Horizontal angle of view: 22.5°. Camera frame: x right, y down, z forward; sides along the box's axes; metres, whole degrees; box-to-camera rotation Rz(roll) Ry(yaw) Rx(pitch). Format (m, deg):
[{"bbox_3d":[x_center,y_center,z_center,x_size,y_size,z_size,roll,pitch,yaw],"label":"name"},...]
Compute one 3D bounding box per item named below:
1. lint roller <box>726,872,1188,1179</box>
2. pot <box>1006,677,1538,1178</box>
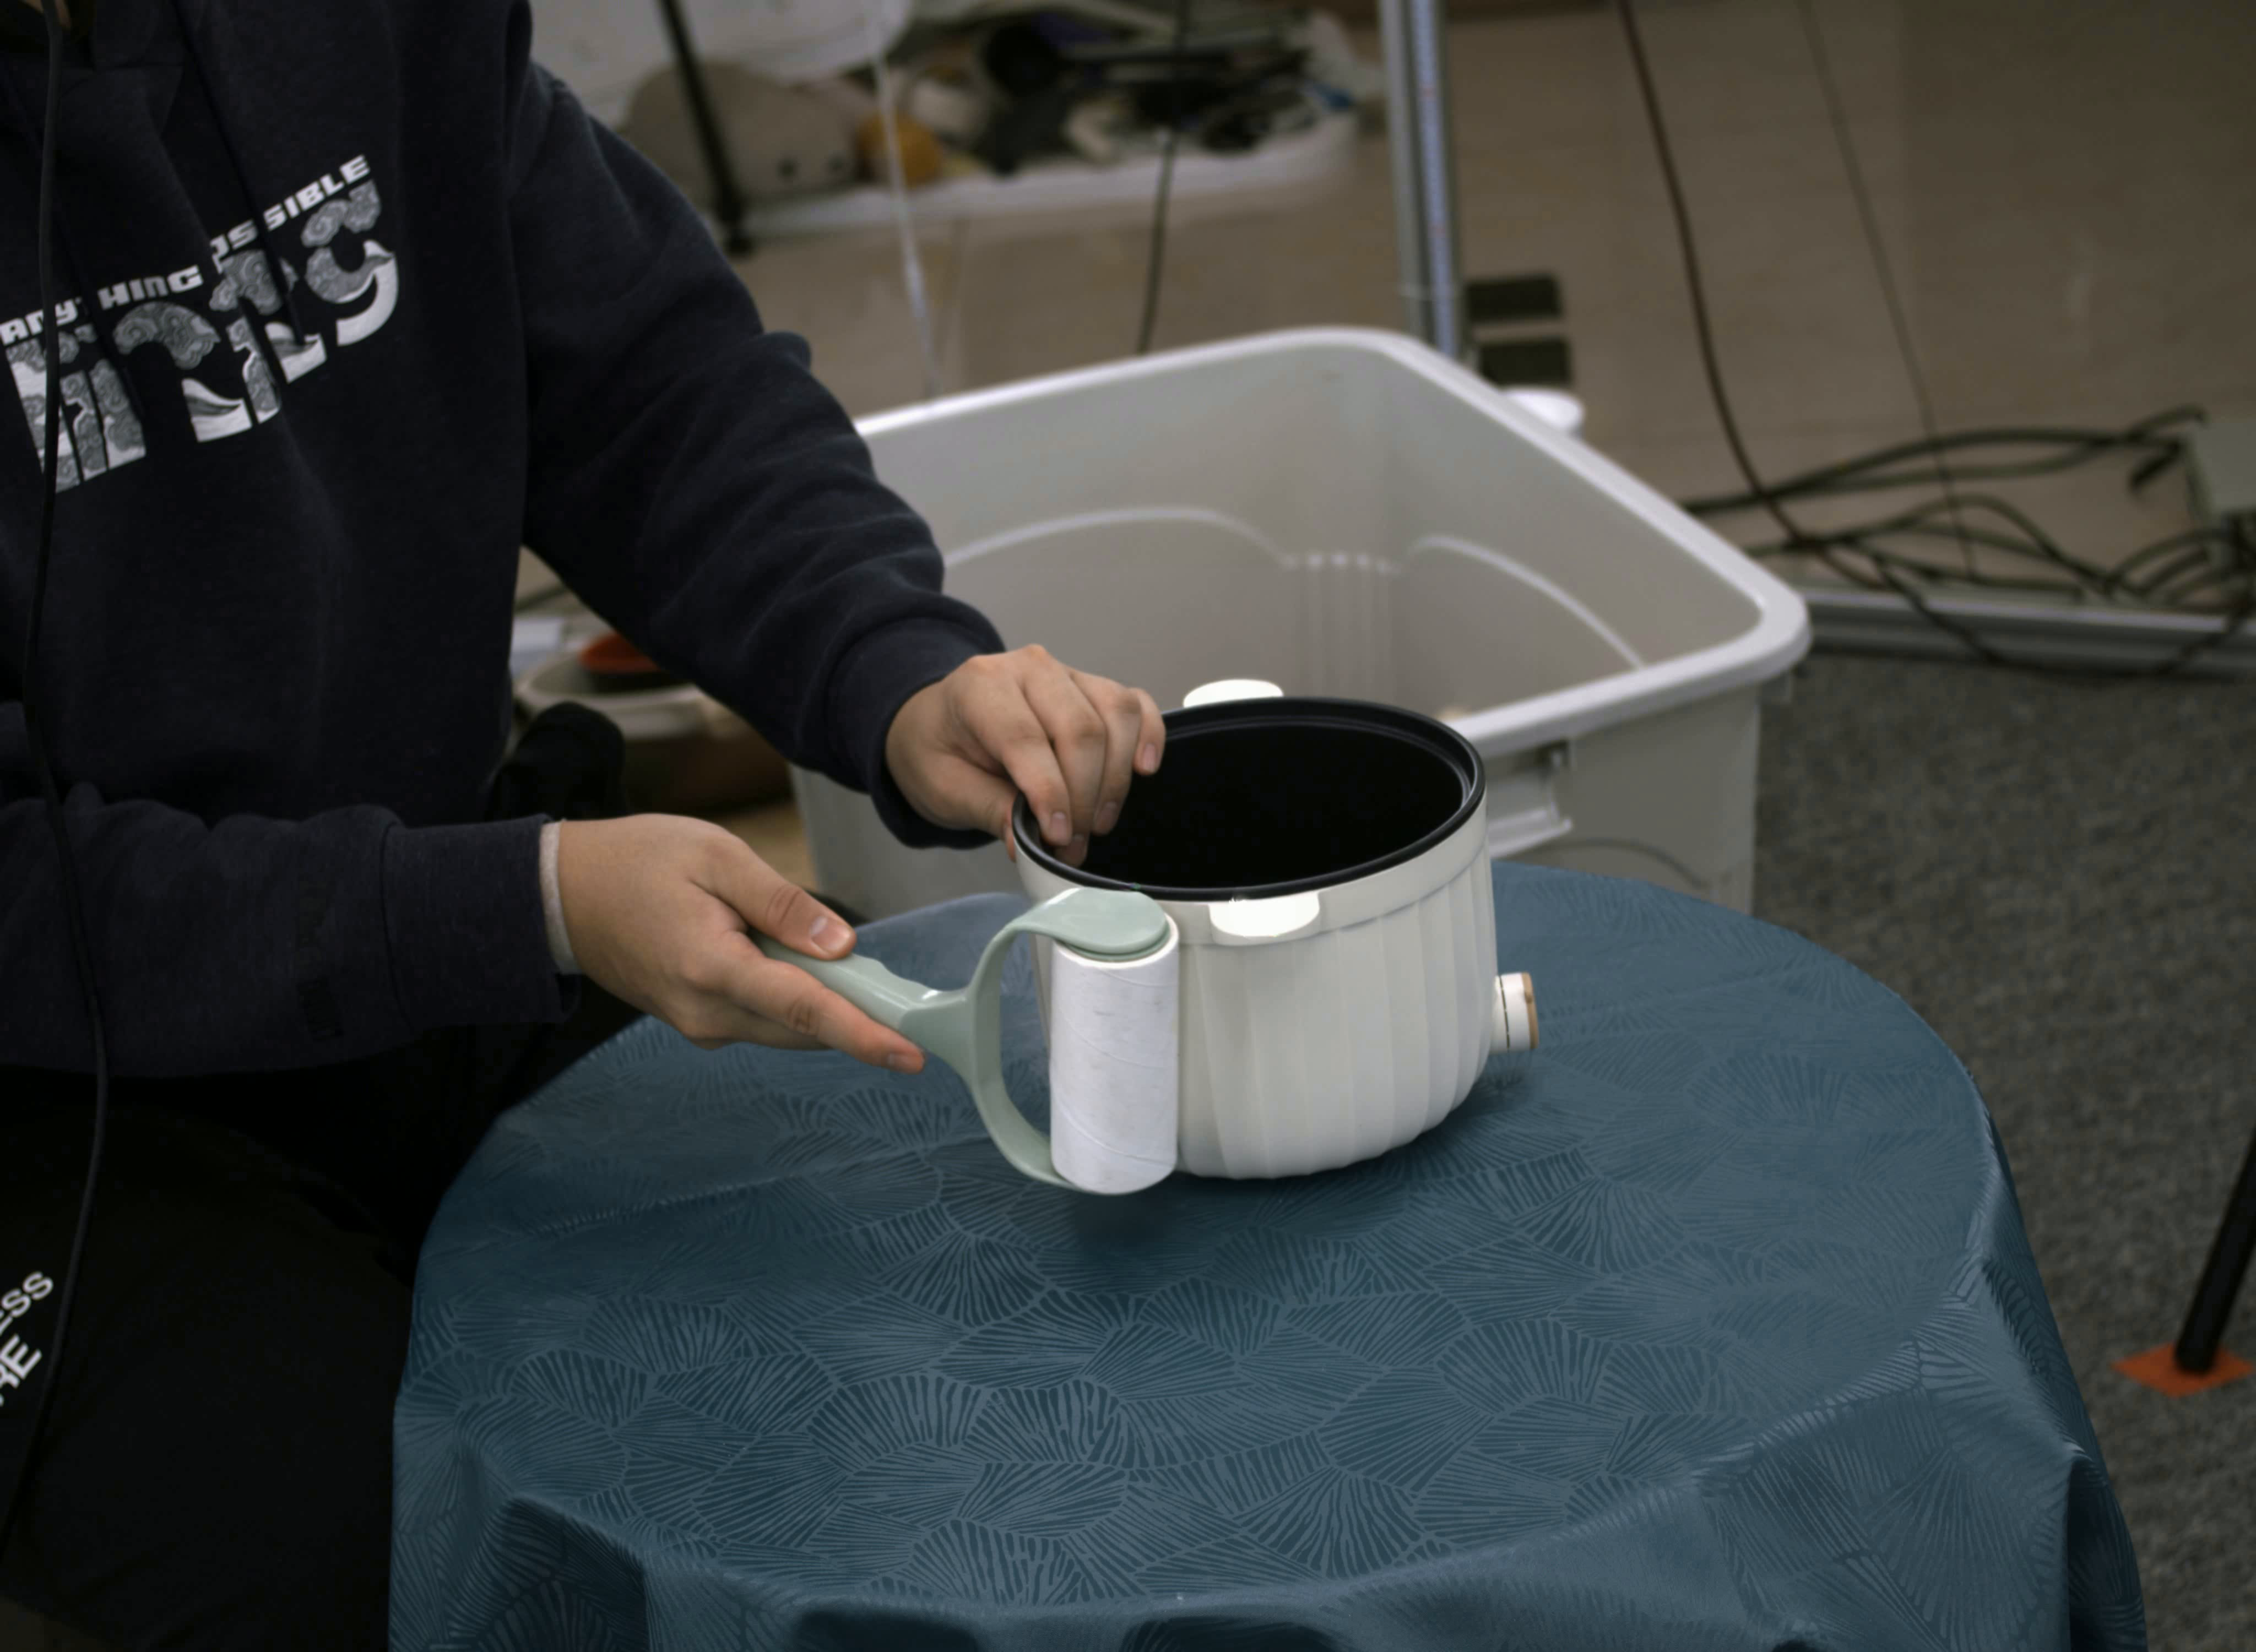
[{"bbox_3d":[-0.069,0.057,2.102,0.196,0.119,0.048,14,38,22],"label":"lint roller"},{"bbox_3d":[0.056,0.045,2.171,0.190,0.145,0.237,-9,26,1],"label":"pot"}]
